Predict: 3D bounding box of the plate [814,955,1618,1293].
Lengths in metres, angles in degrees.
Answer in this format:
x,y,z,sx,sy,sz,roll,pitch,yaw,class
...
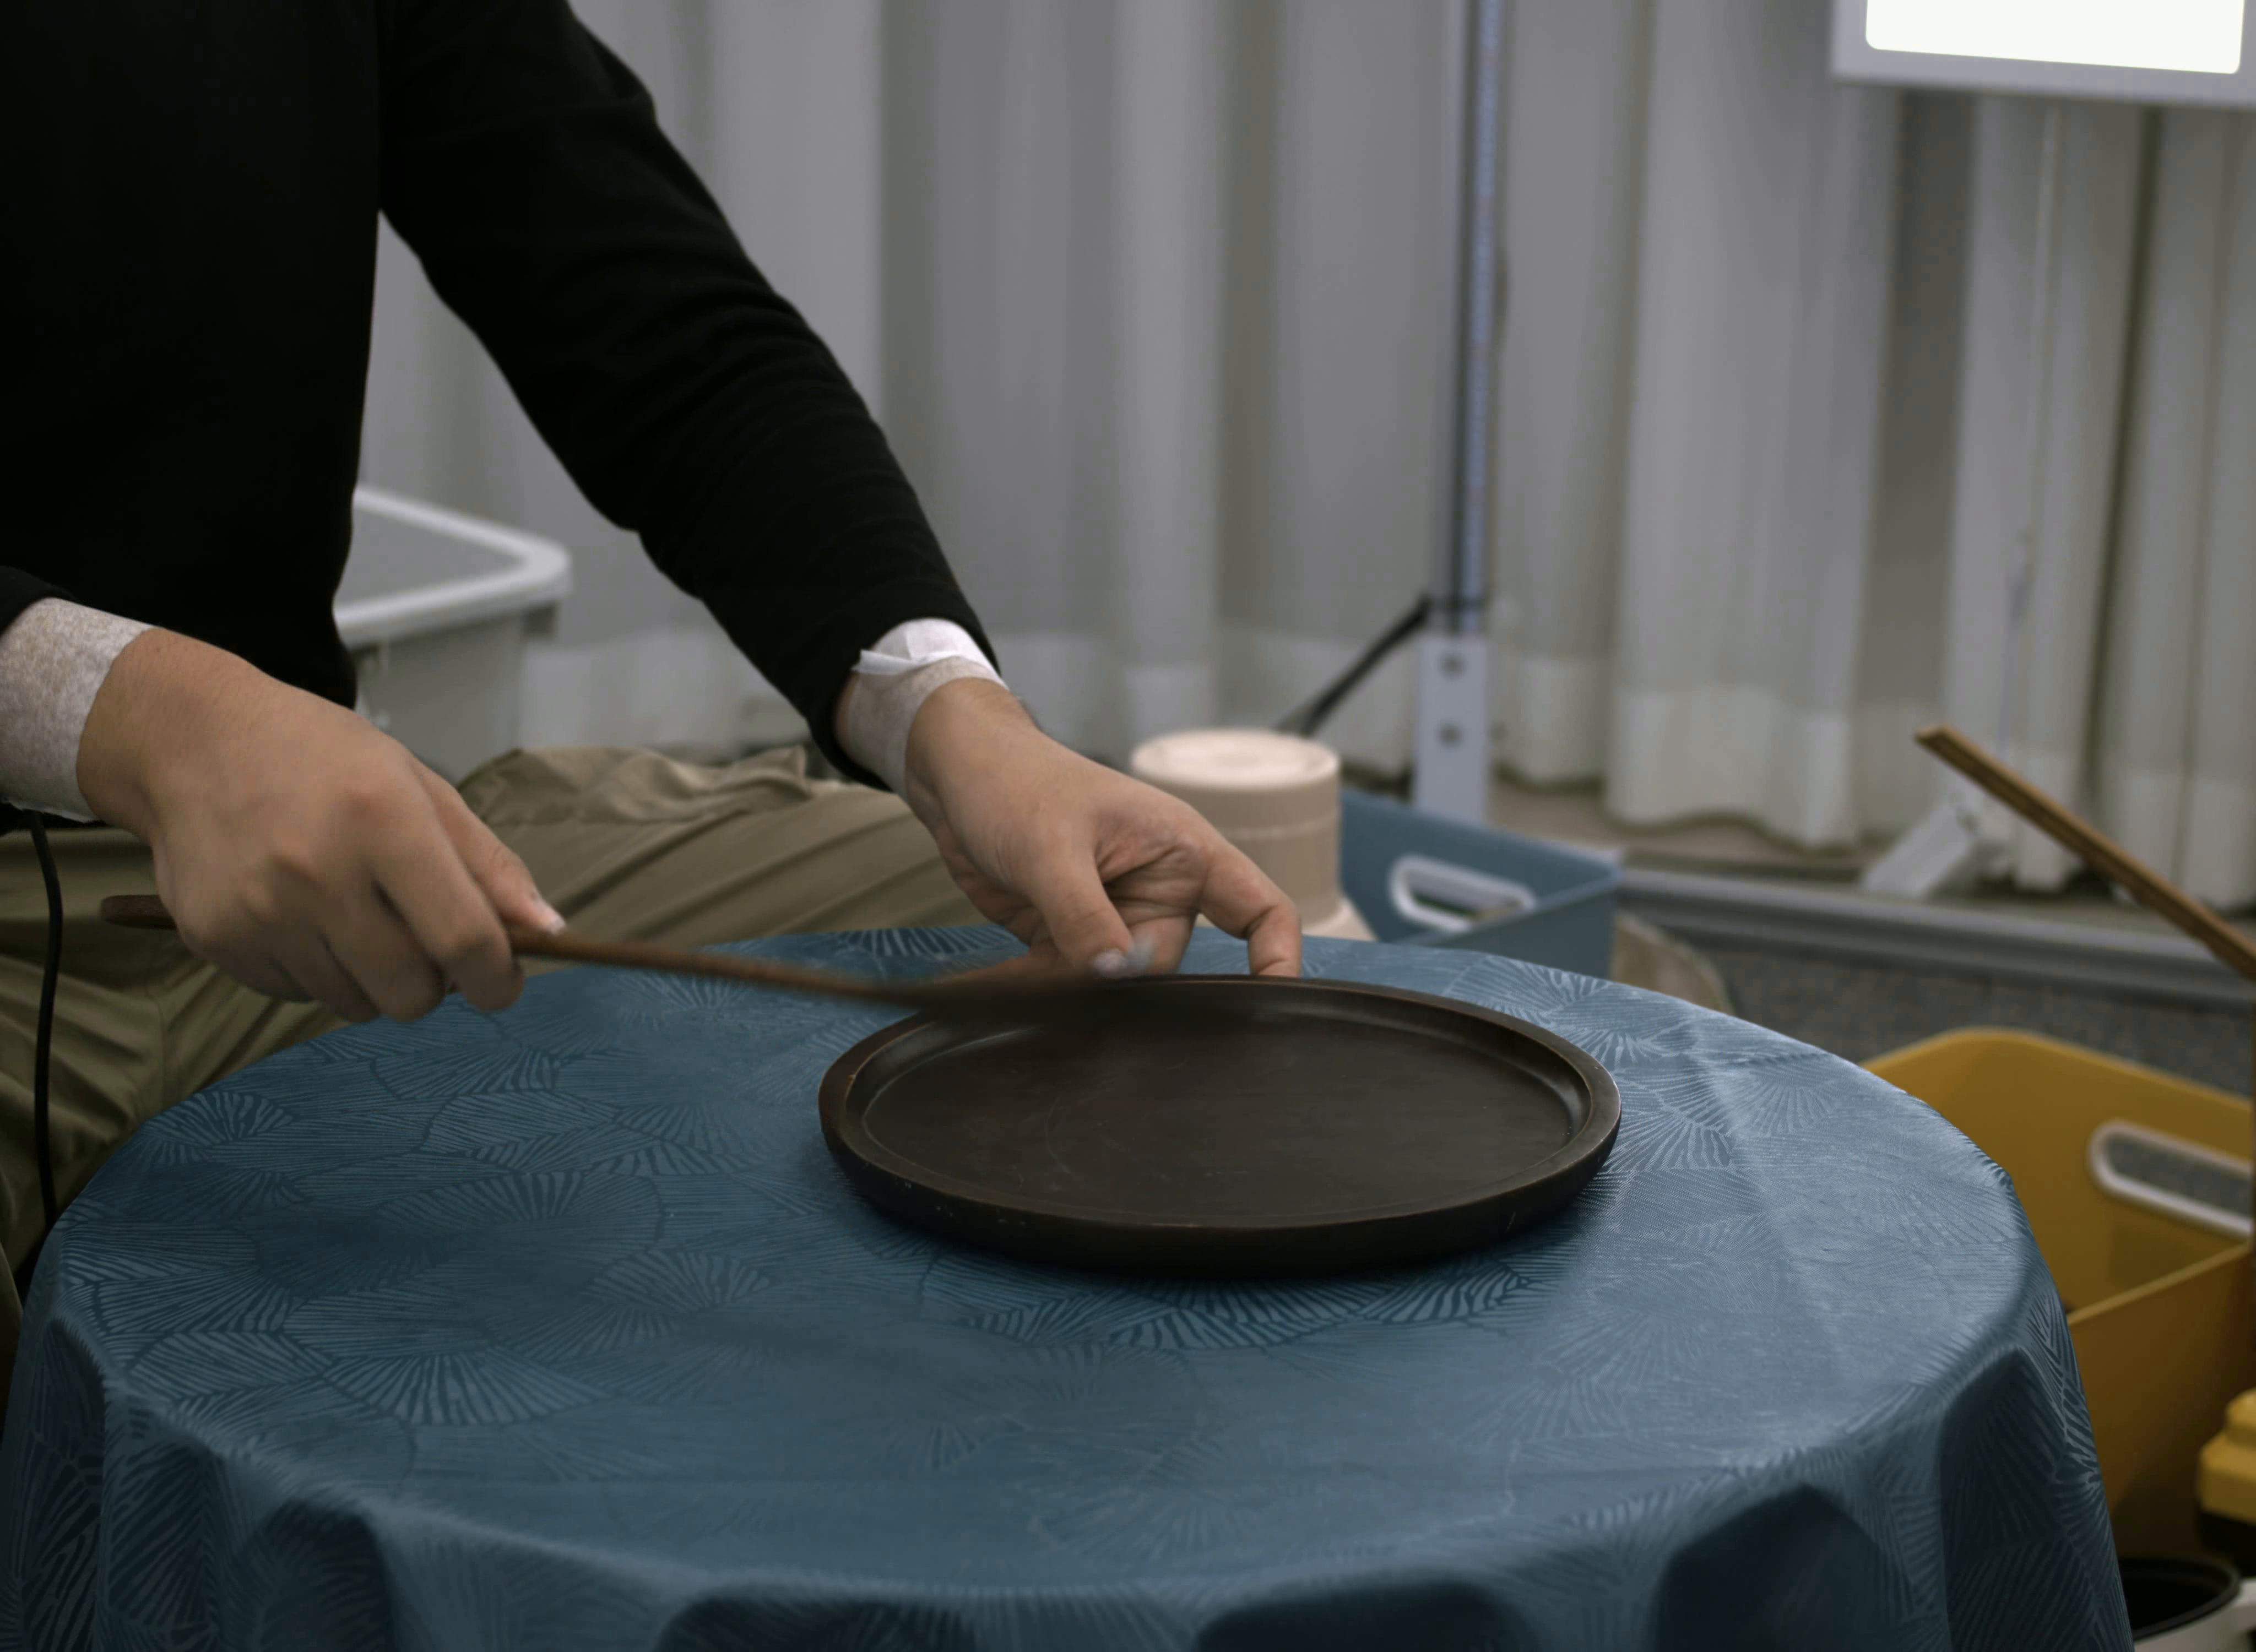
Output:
x,y,z,sx,sy,sz,roll,pitch,yaw,class
0.028,0.093,1.651,0.254,0.029,0.253,0,17,0,plate

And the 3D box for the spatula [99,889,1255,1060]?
x,y,z,sx,sy,sz,roll,pitch,yaw,class
-0.143,0.041,1.508,0.381,0.016,0.097,7,-3,28,spatula
